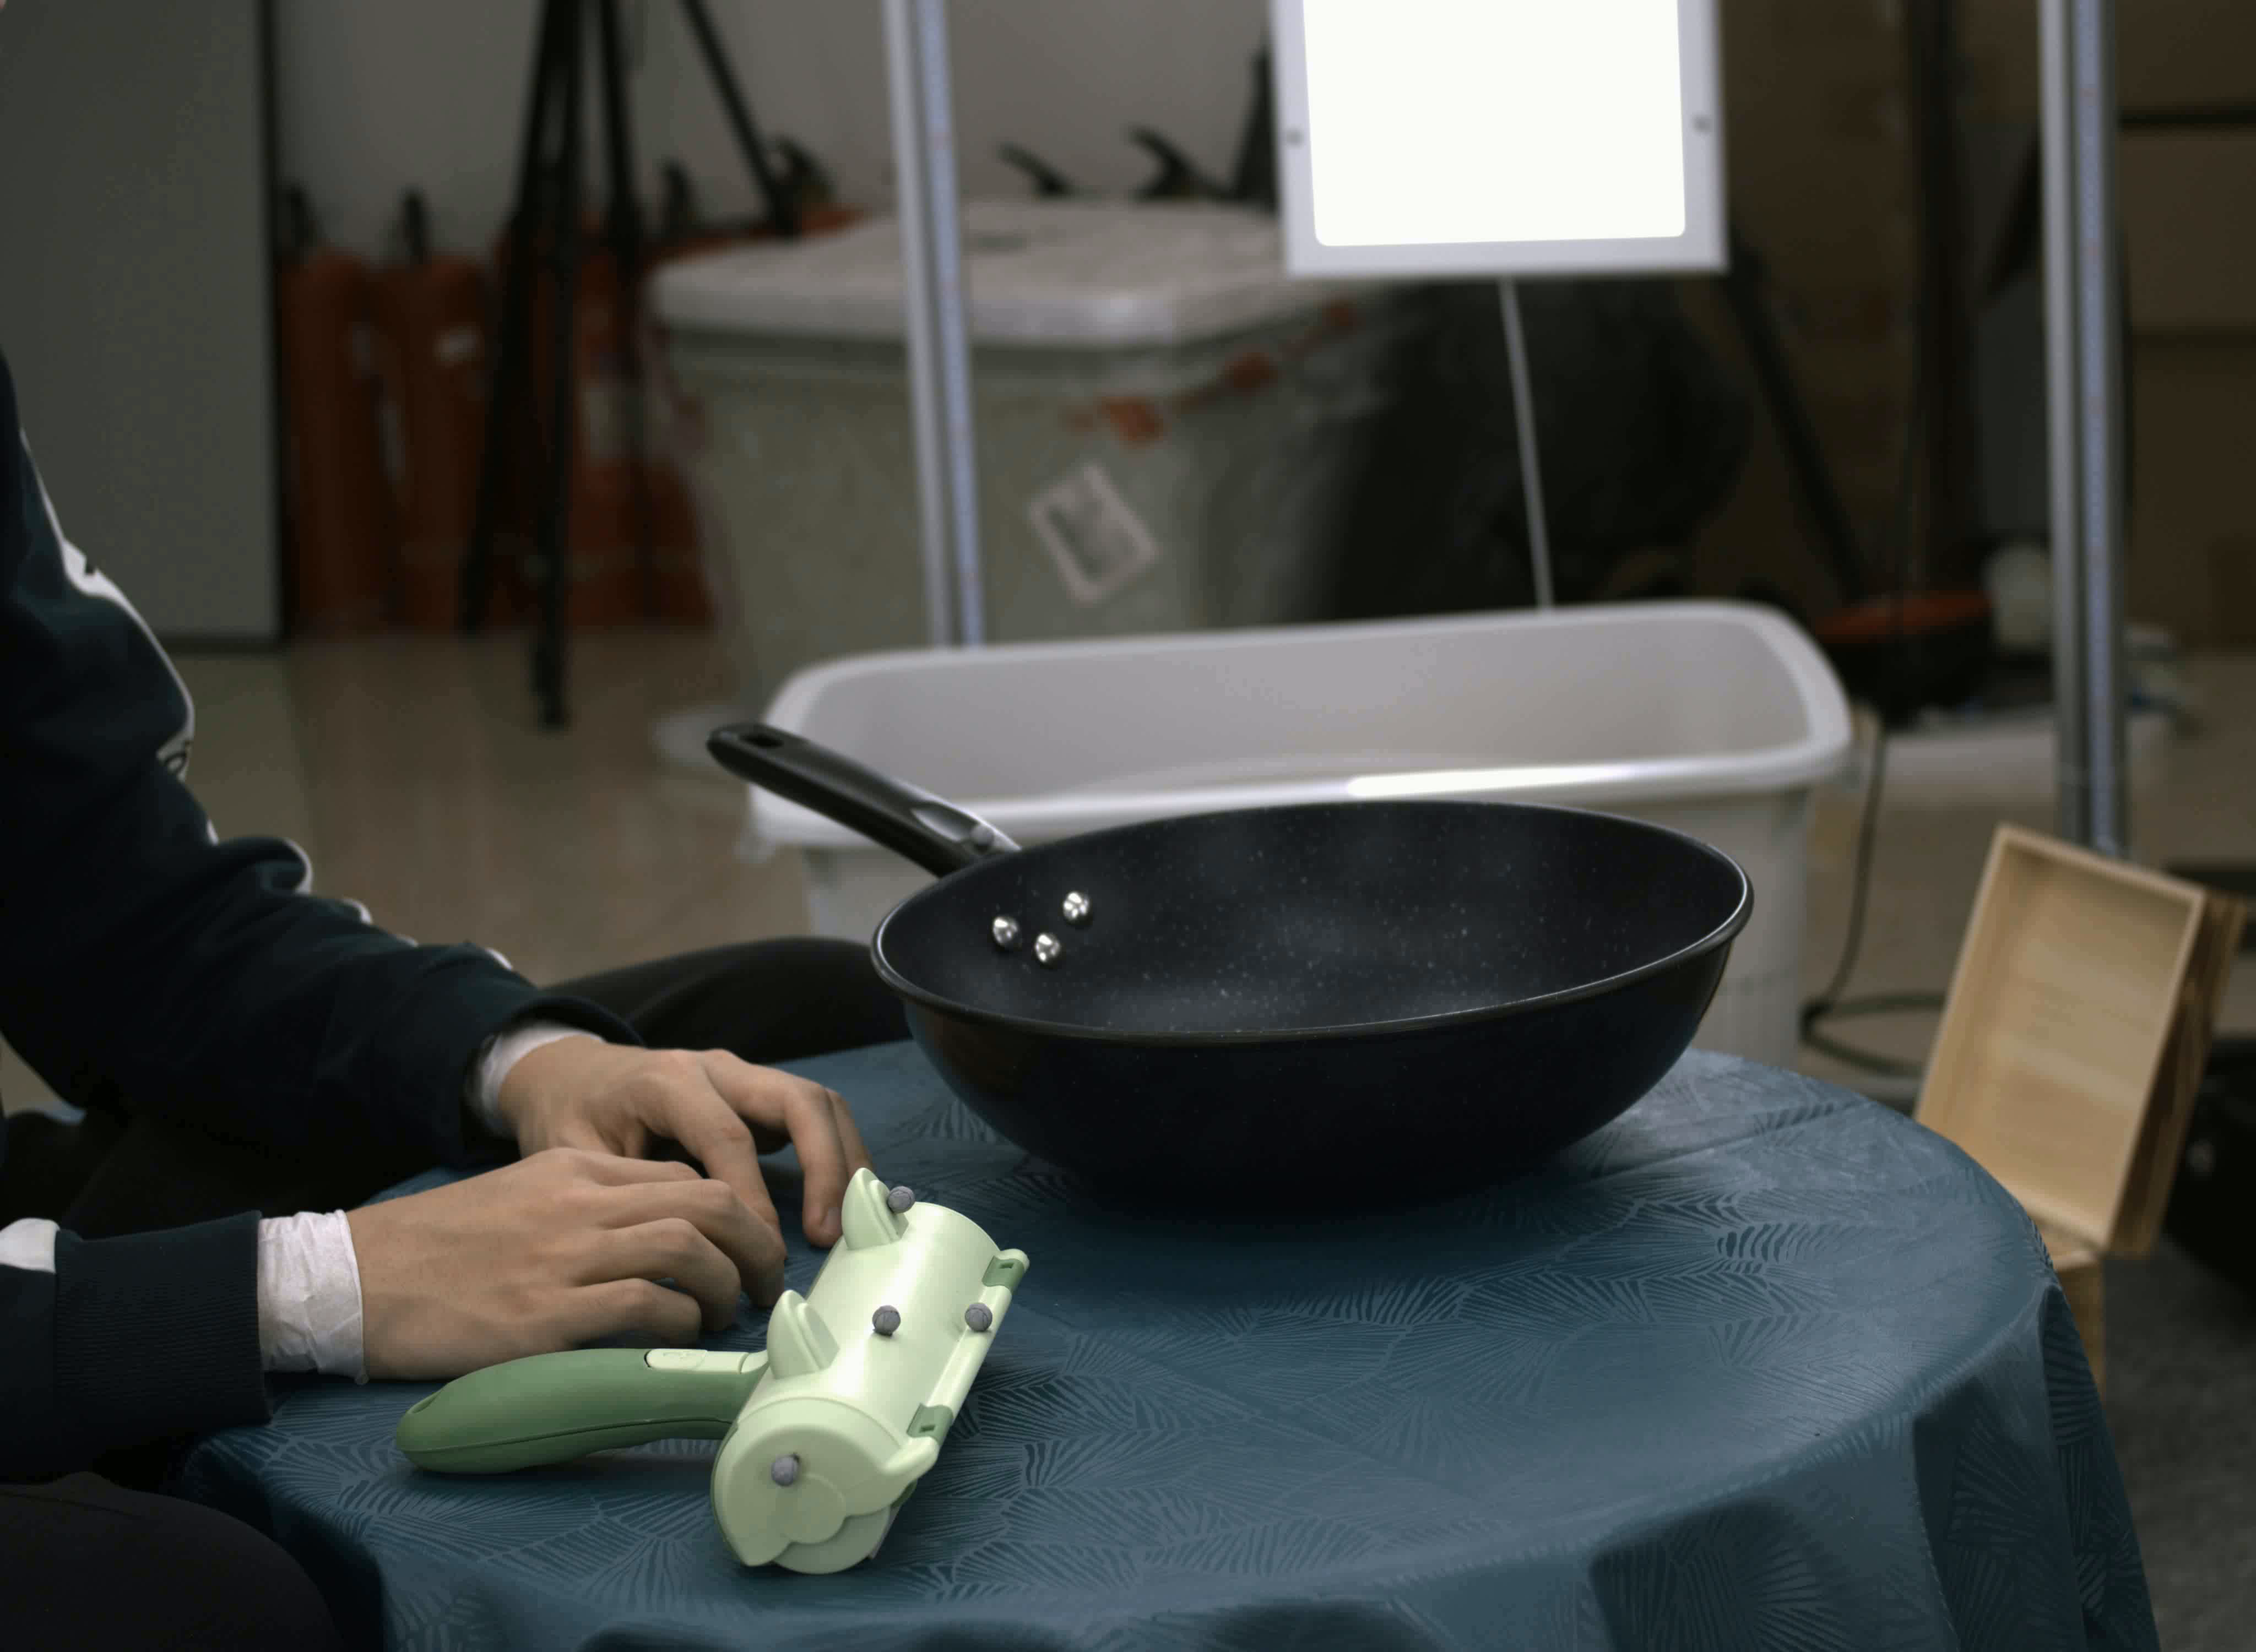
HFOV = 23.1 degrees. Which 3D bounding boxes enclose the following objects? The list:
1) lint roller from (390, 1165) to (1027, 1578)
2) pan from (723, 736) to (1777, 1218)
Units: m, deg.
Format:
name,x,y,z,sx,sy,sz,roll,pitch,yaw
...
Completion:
name,x,y,z,sx,sy,sz,roll,pitch,yaw
lint roller,-0.134,0.157,1.661,0.184,0.082,0.196,2,15,9
pan,0.014,0.050,1.978,0.302,0.112,0.487,-15,17,-40
